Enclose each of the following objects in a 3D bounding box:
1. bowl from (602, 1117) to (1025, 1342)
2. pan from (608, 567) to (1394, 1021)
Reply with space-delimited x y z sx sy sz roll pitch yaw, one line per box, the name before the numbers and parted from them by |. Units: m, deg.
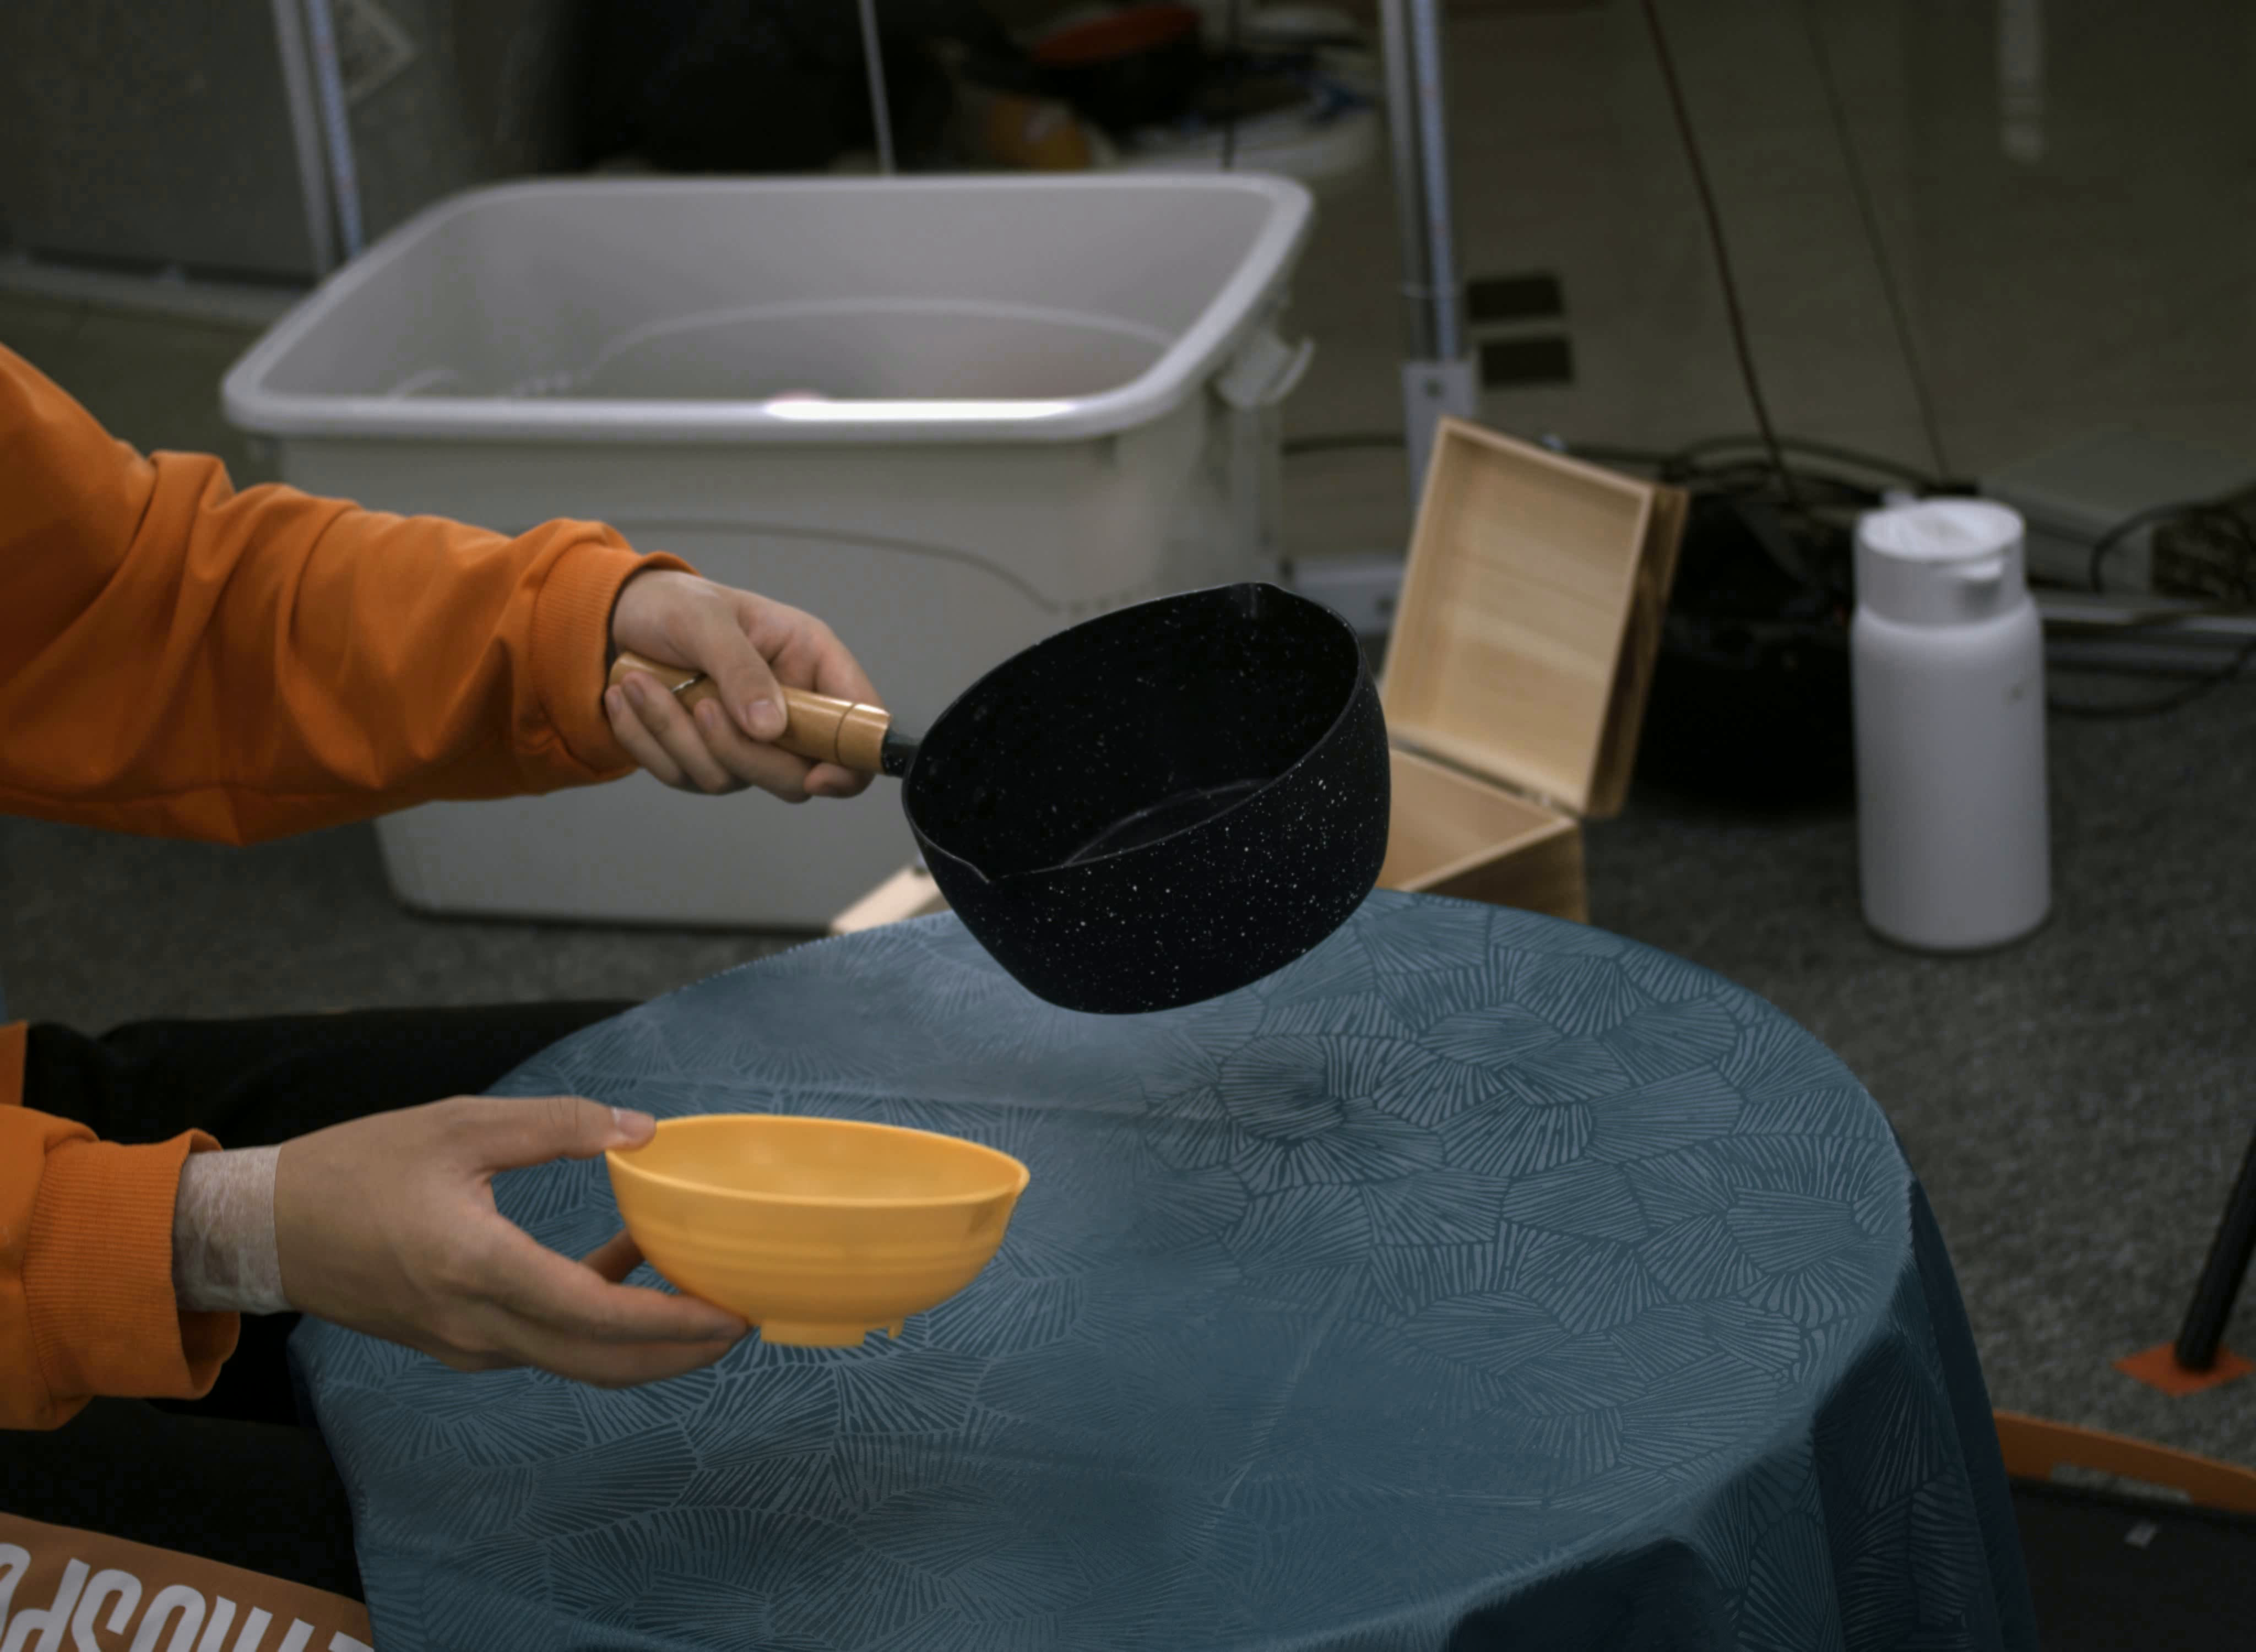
bowl | -0.109 0.139 1.926 0.145 0.060 0.144 4 6 0
pan | -0.054 -0.017 2.187 0.342 0.110 0.204 4 40 34
